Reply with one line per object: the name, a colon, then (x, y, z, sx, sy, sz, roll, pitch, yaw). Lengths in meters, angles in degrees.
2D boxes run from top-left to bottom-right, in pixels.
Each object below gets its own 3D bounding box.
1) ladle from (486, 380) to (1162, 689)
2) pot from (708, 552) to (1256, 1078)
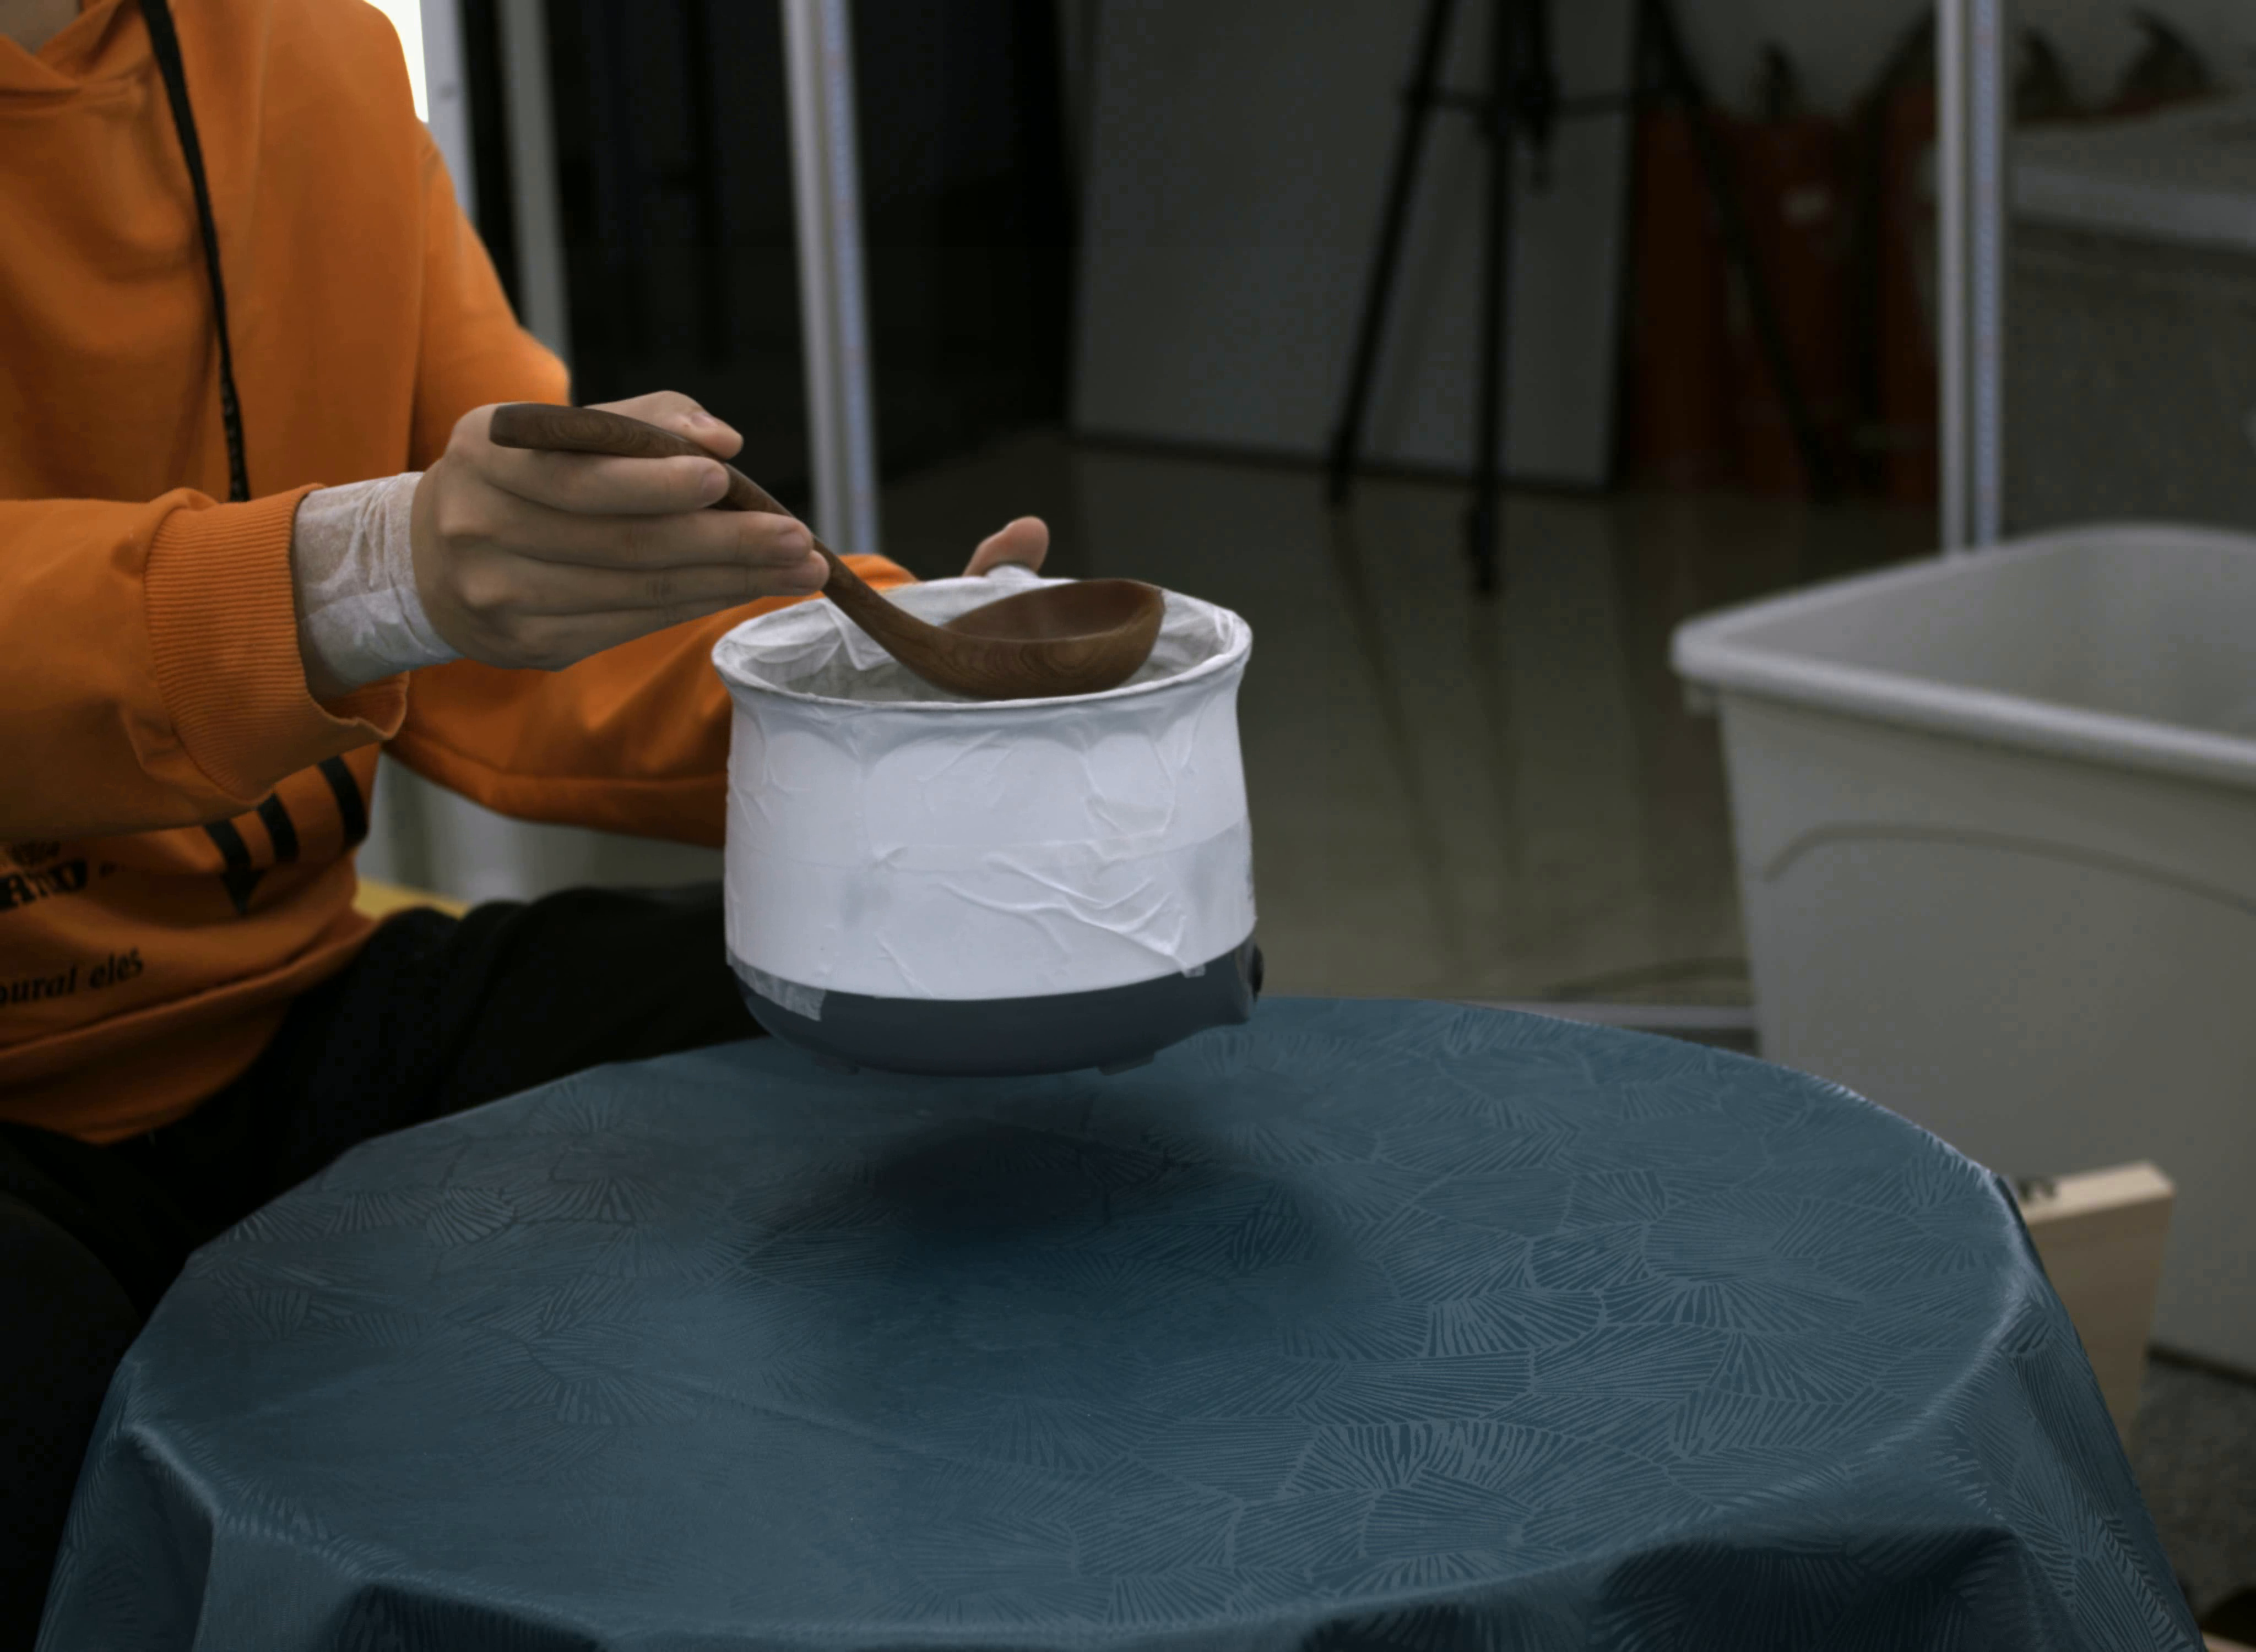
ladle: (-0.091, -0.100, 1.675, 0.255, 0.065, 0.077, 30, -20, -37)
pot: (-0.046, -0.008, 1.792, 0.177, 0.138, 0.233, 0, 15, 3)
